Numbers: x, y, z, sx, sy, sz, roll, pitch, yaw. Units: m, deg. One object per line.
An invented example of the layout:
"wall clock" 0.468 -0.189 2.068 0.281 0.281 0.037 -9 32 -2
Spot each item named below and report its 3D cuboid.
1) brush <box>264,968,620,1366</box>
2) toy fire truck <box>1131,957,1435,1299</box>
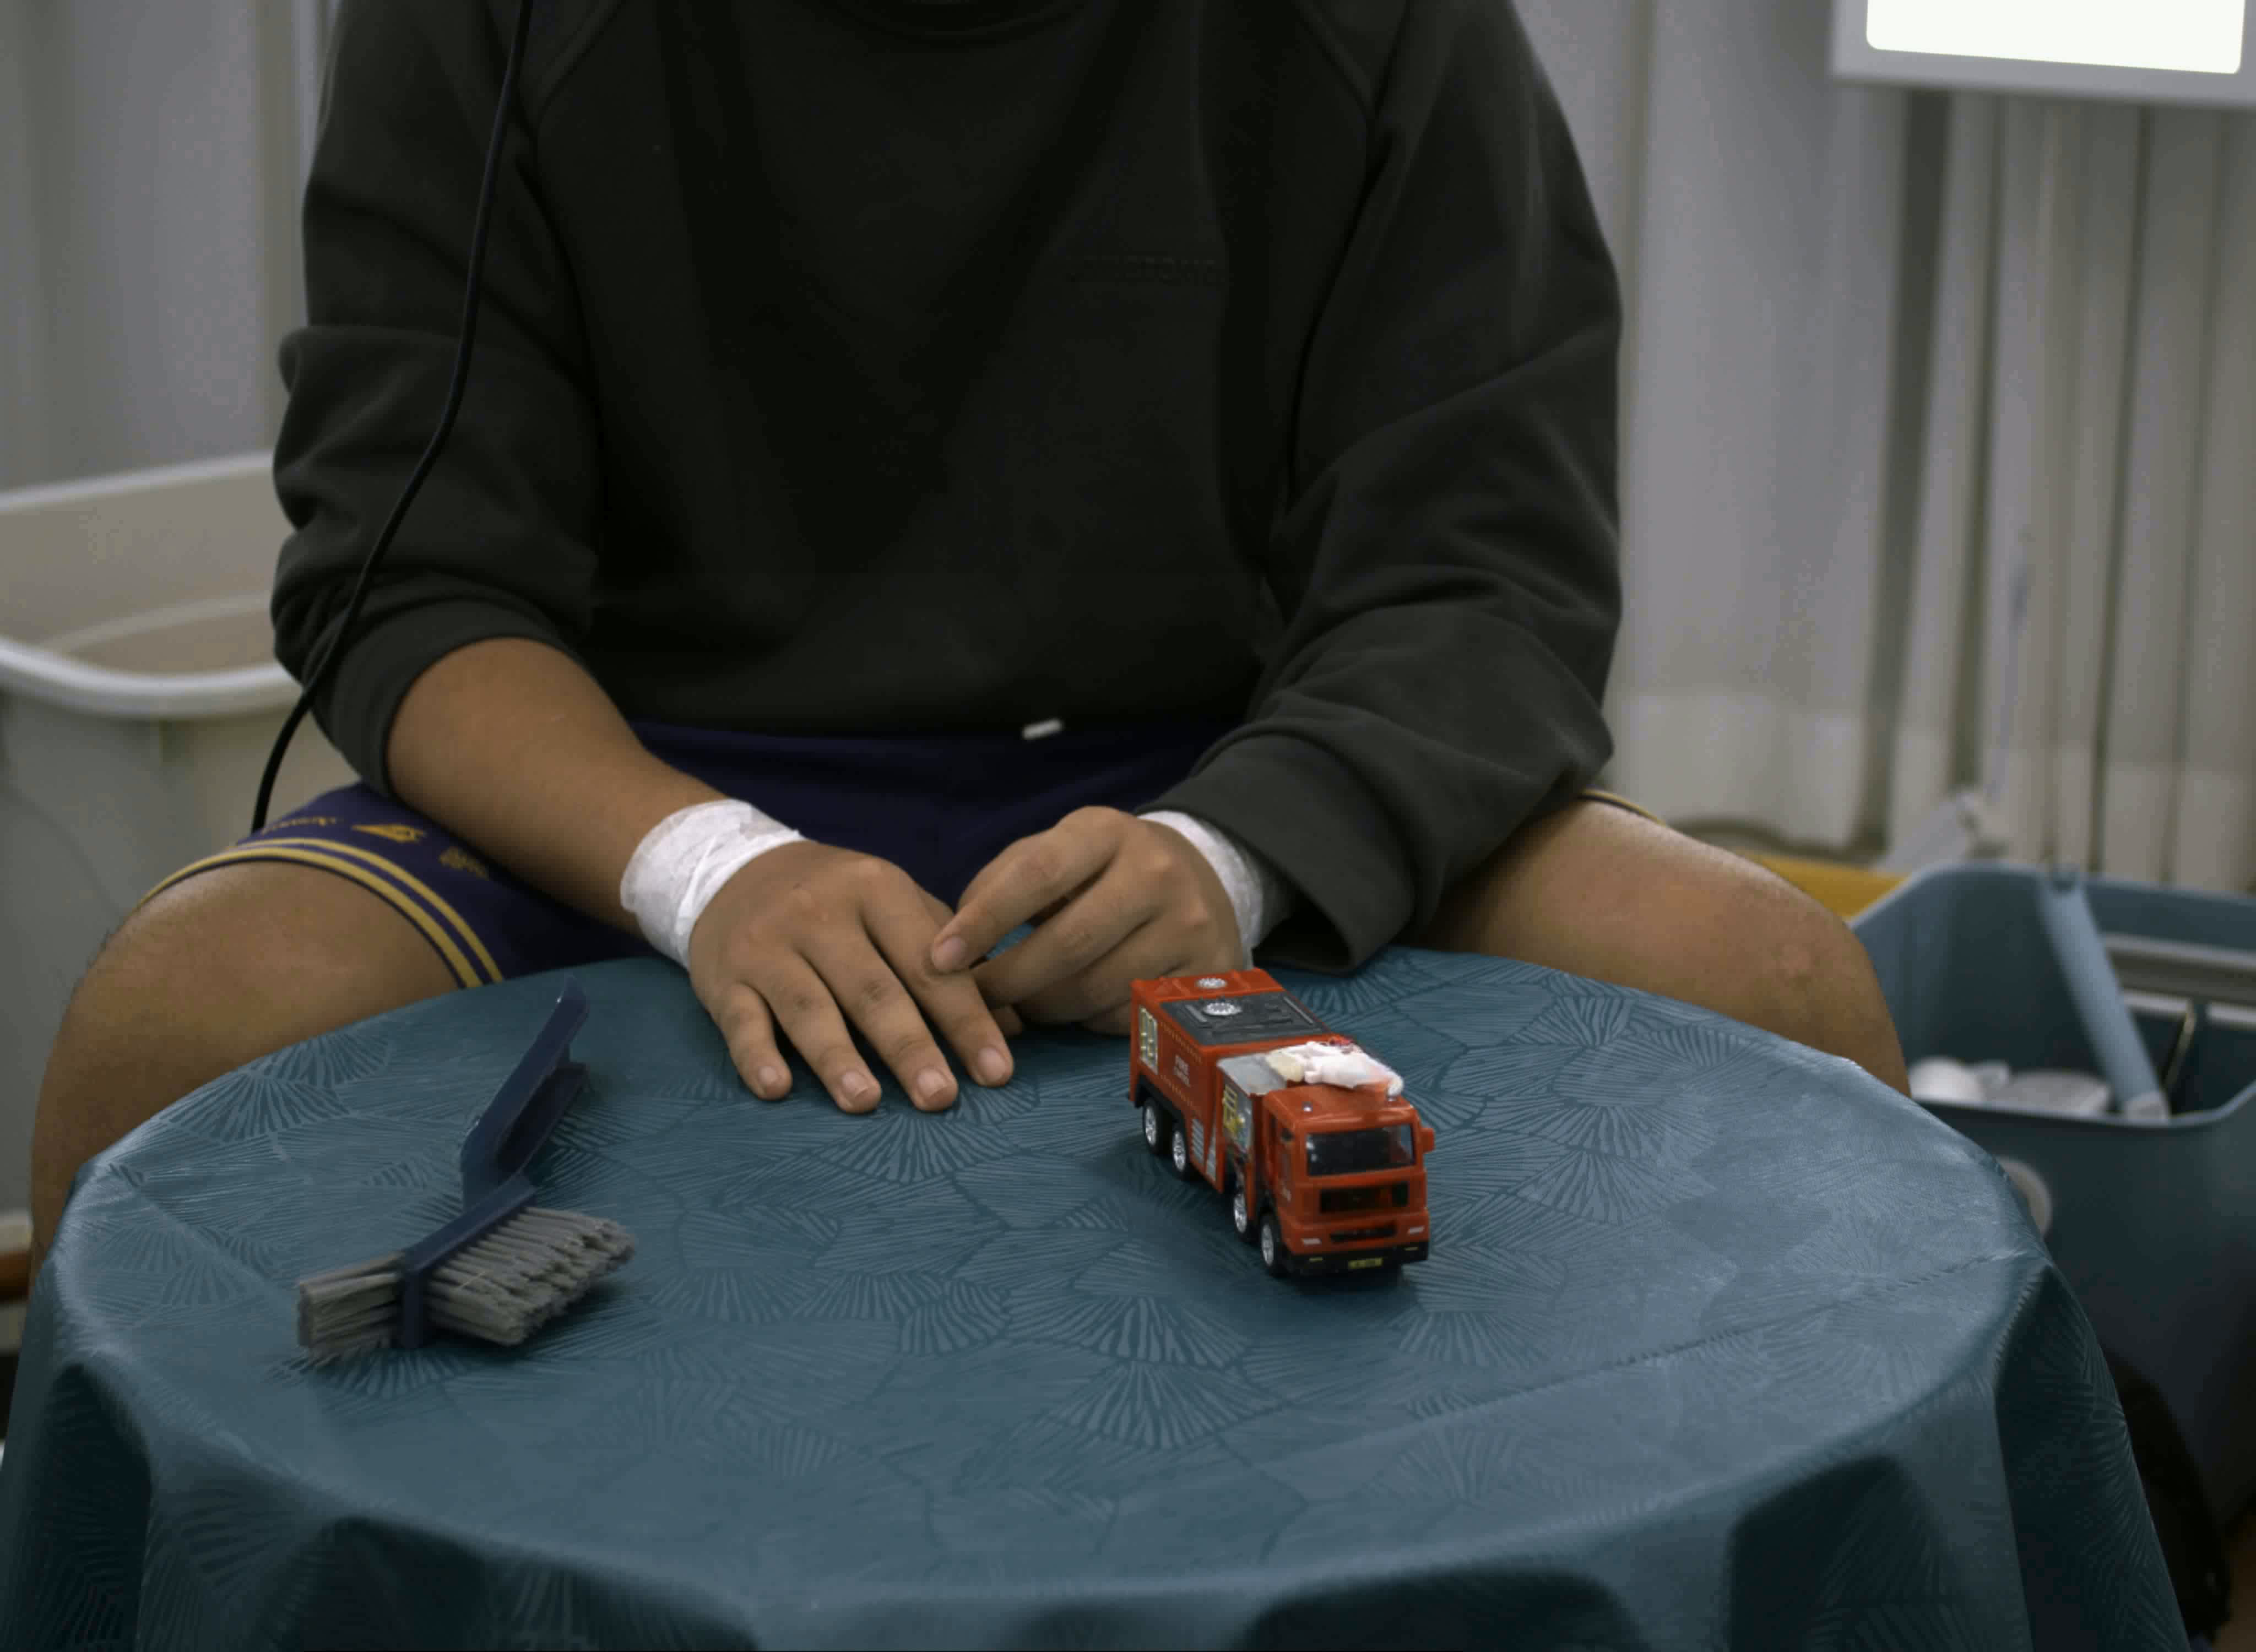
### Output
"brush" -0.199 0.100 1.600 0.095 0.034 0.271 -1 16 -2
"toy fire truck" 0.046 0.088 1.600 0.054 0.071 0.166 -5 16 -18
